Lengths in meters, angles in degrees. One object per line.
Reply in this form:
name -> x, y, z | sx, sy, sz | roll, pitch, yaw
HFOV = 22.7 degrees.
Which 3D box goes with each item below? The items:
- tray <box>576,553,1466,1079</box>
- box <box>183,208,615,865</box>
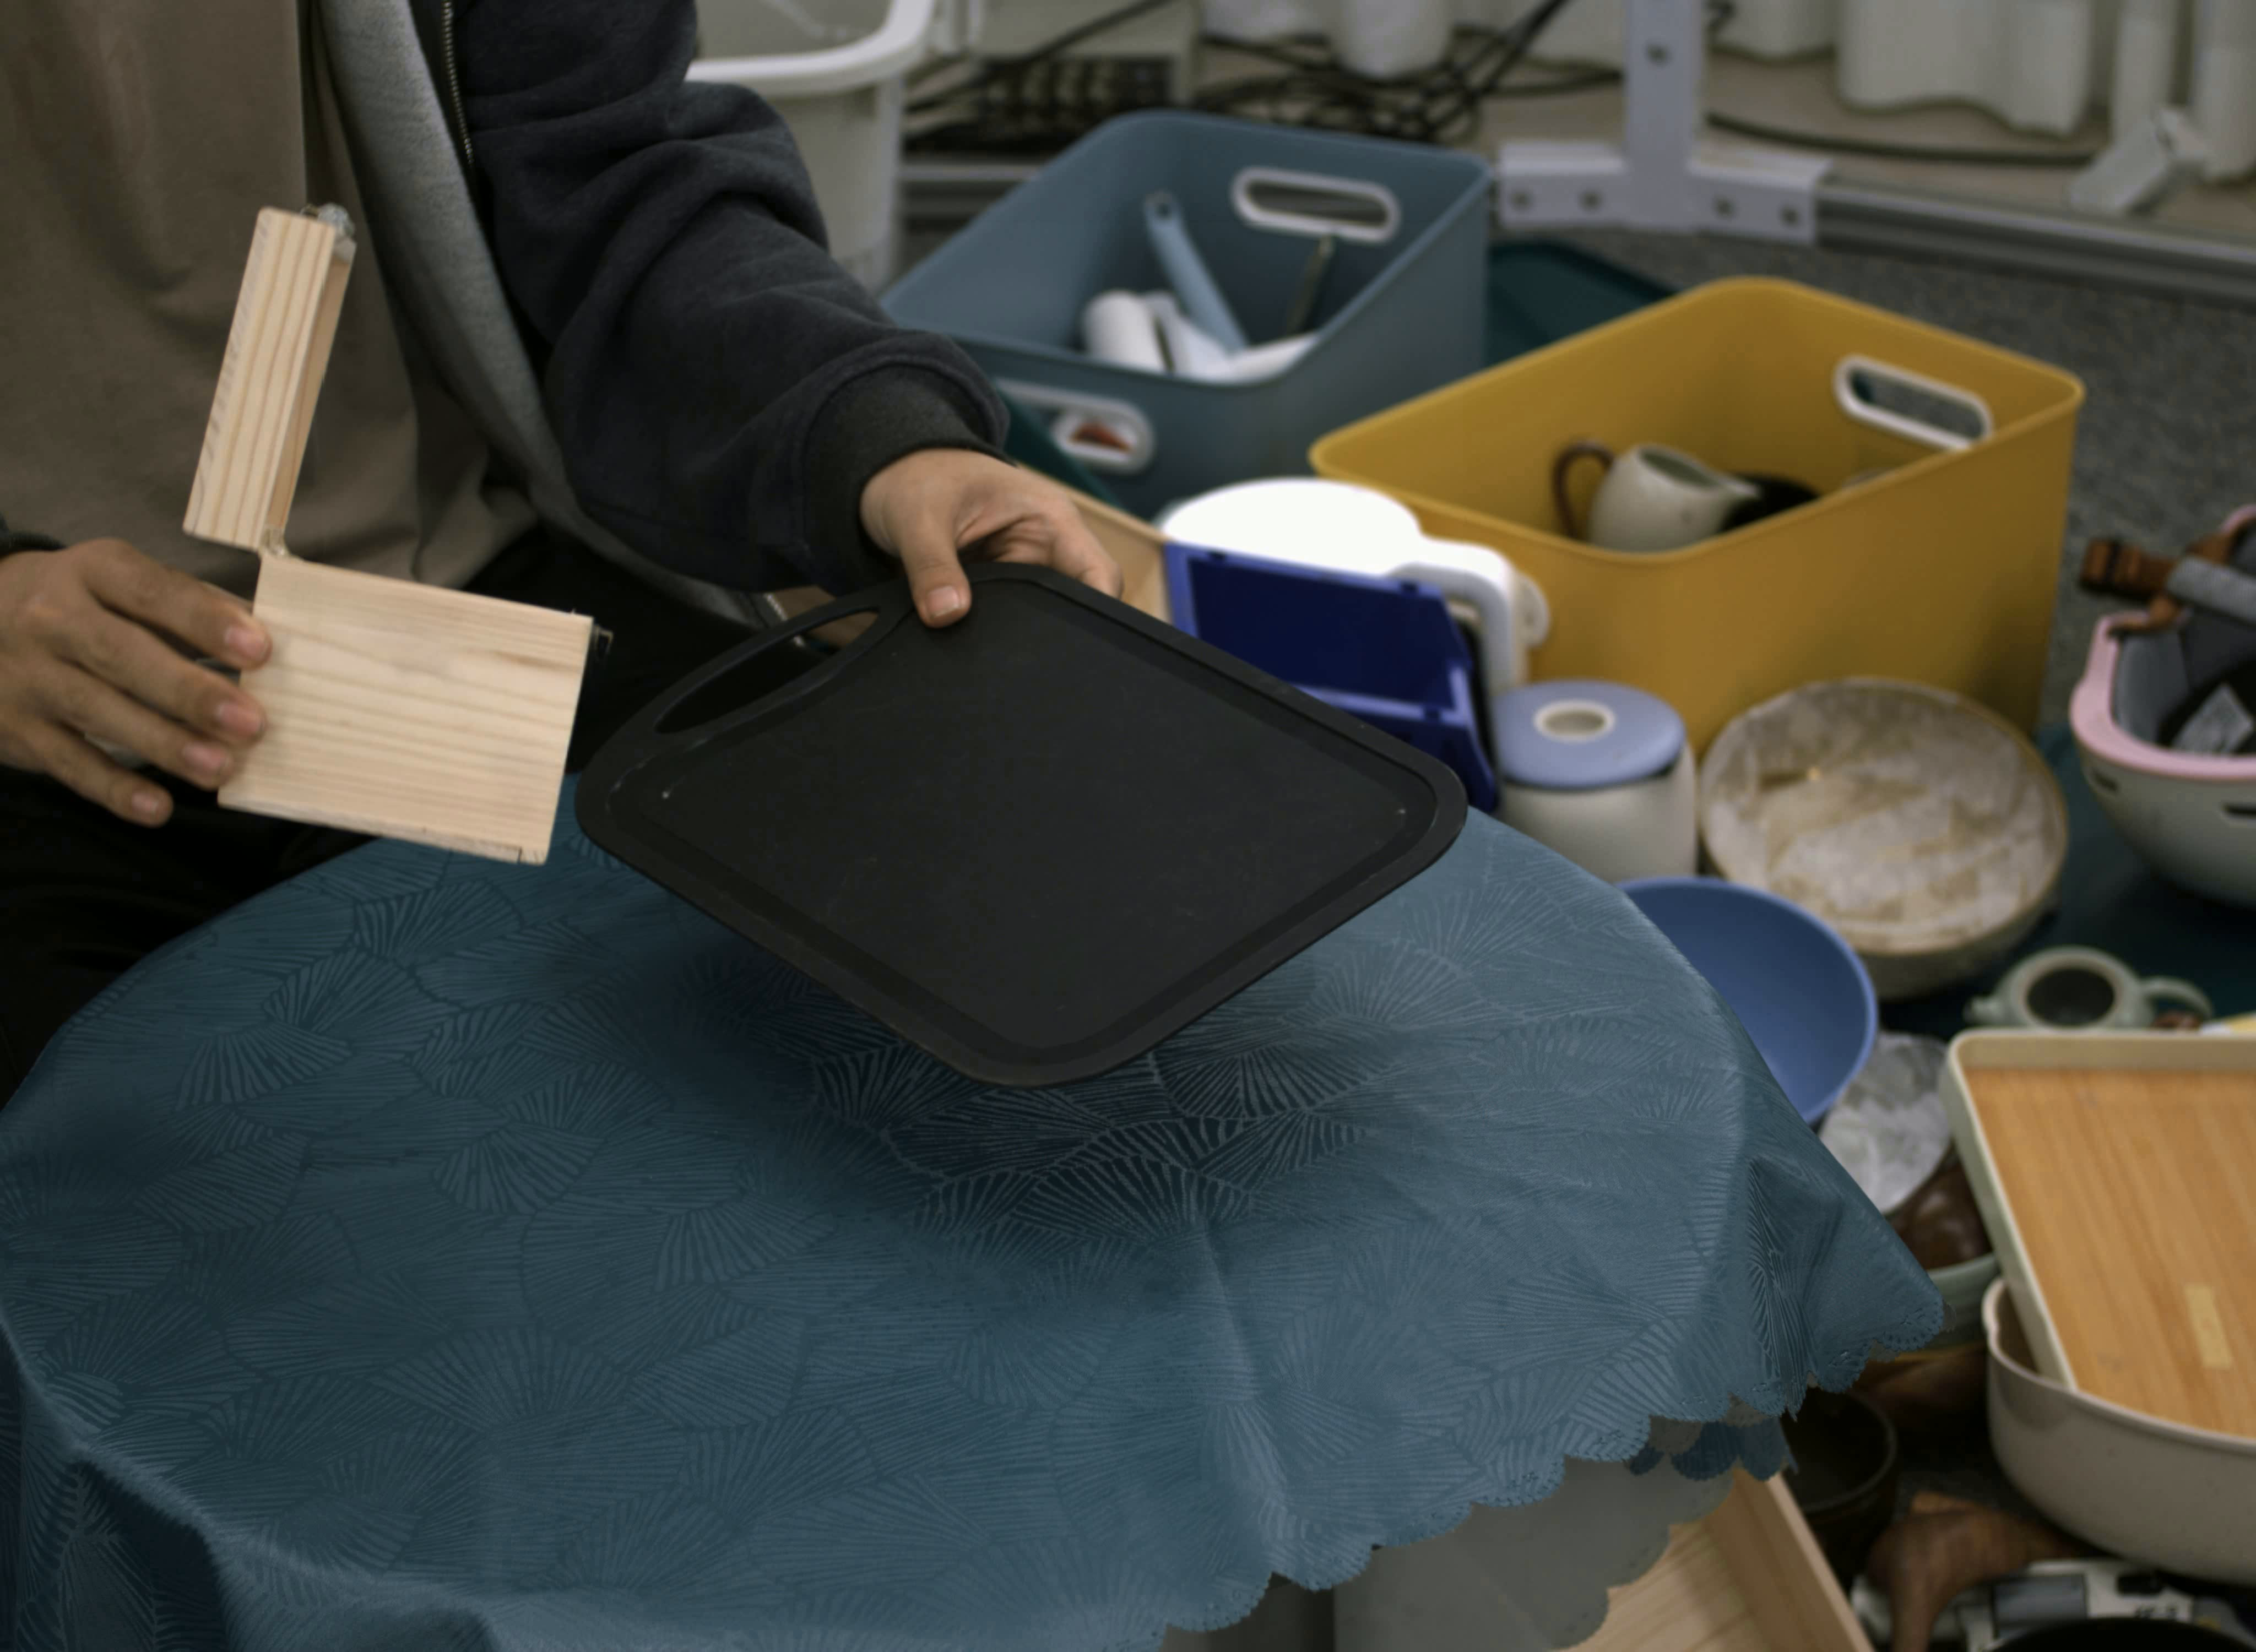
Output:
tray -> -0.047, -0.013, 1.941 | 0.213, 0.009, 0.326 | -31, 37, -25
box -> -0.222, -0.091, 1.750 | 0.133, 0.185, 0.102 | 9, 1, -6
